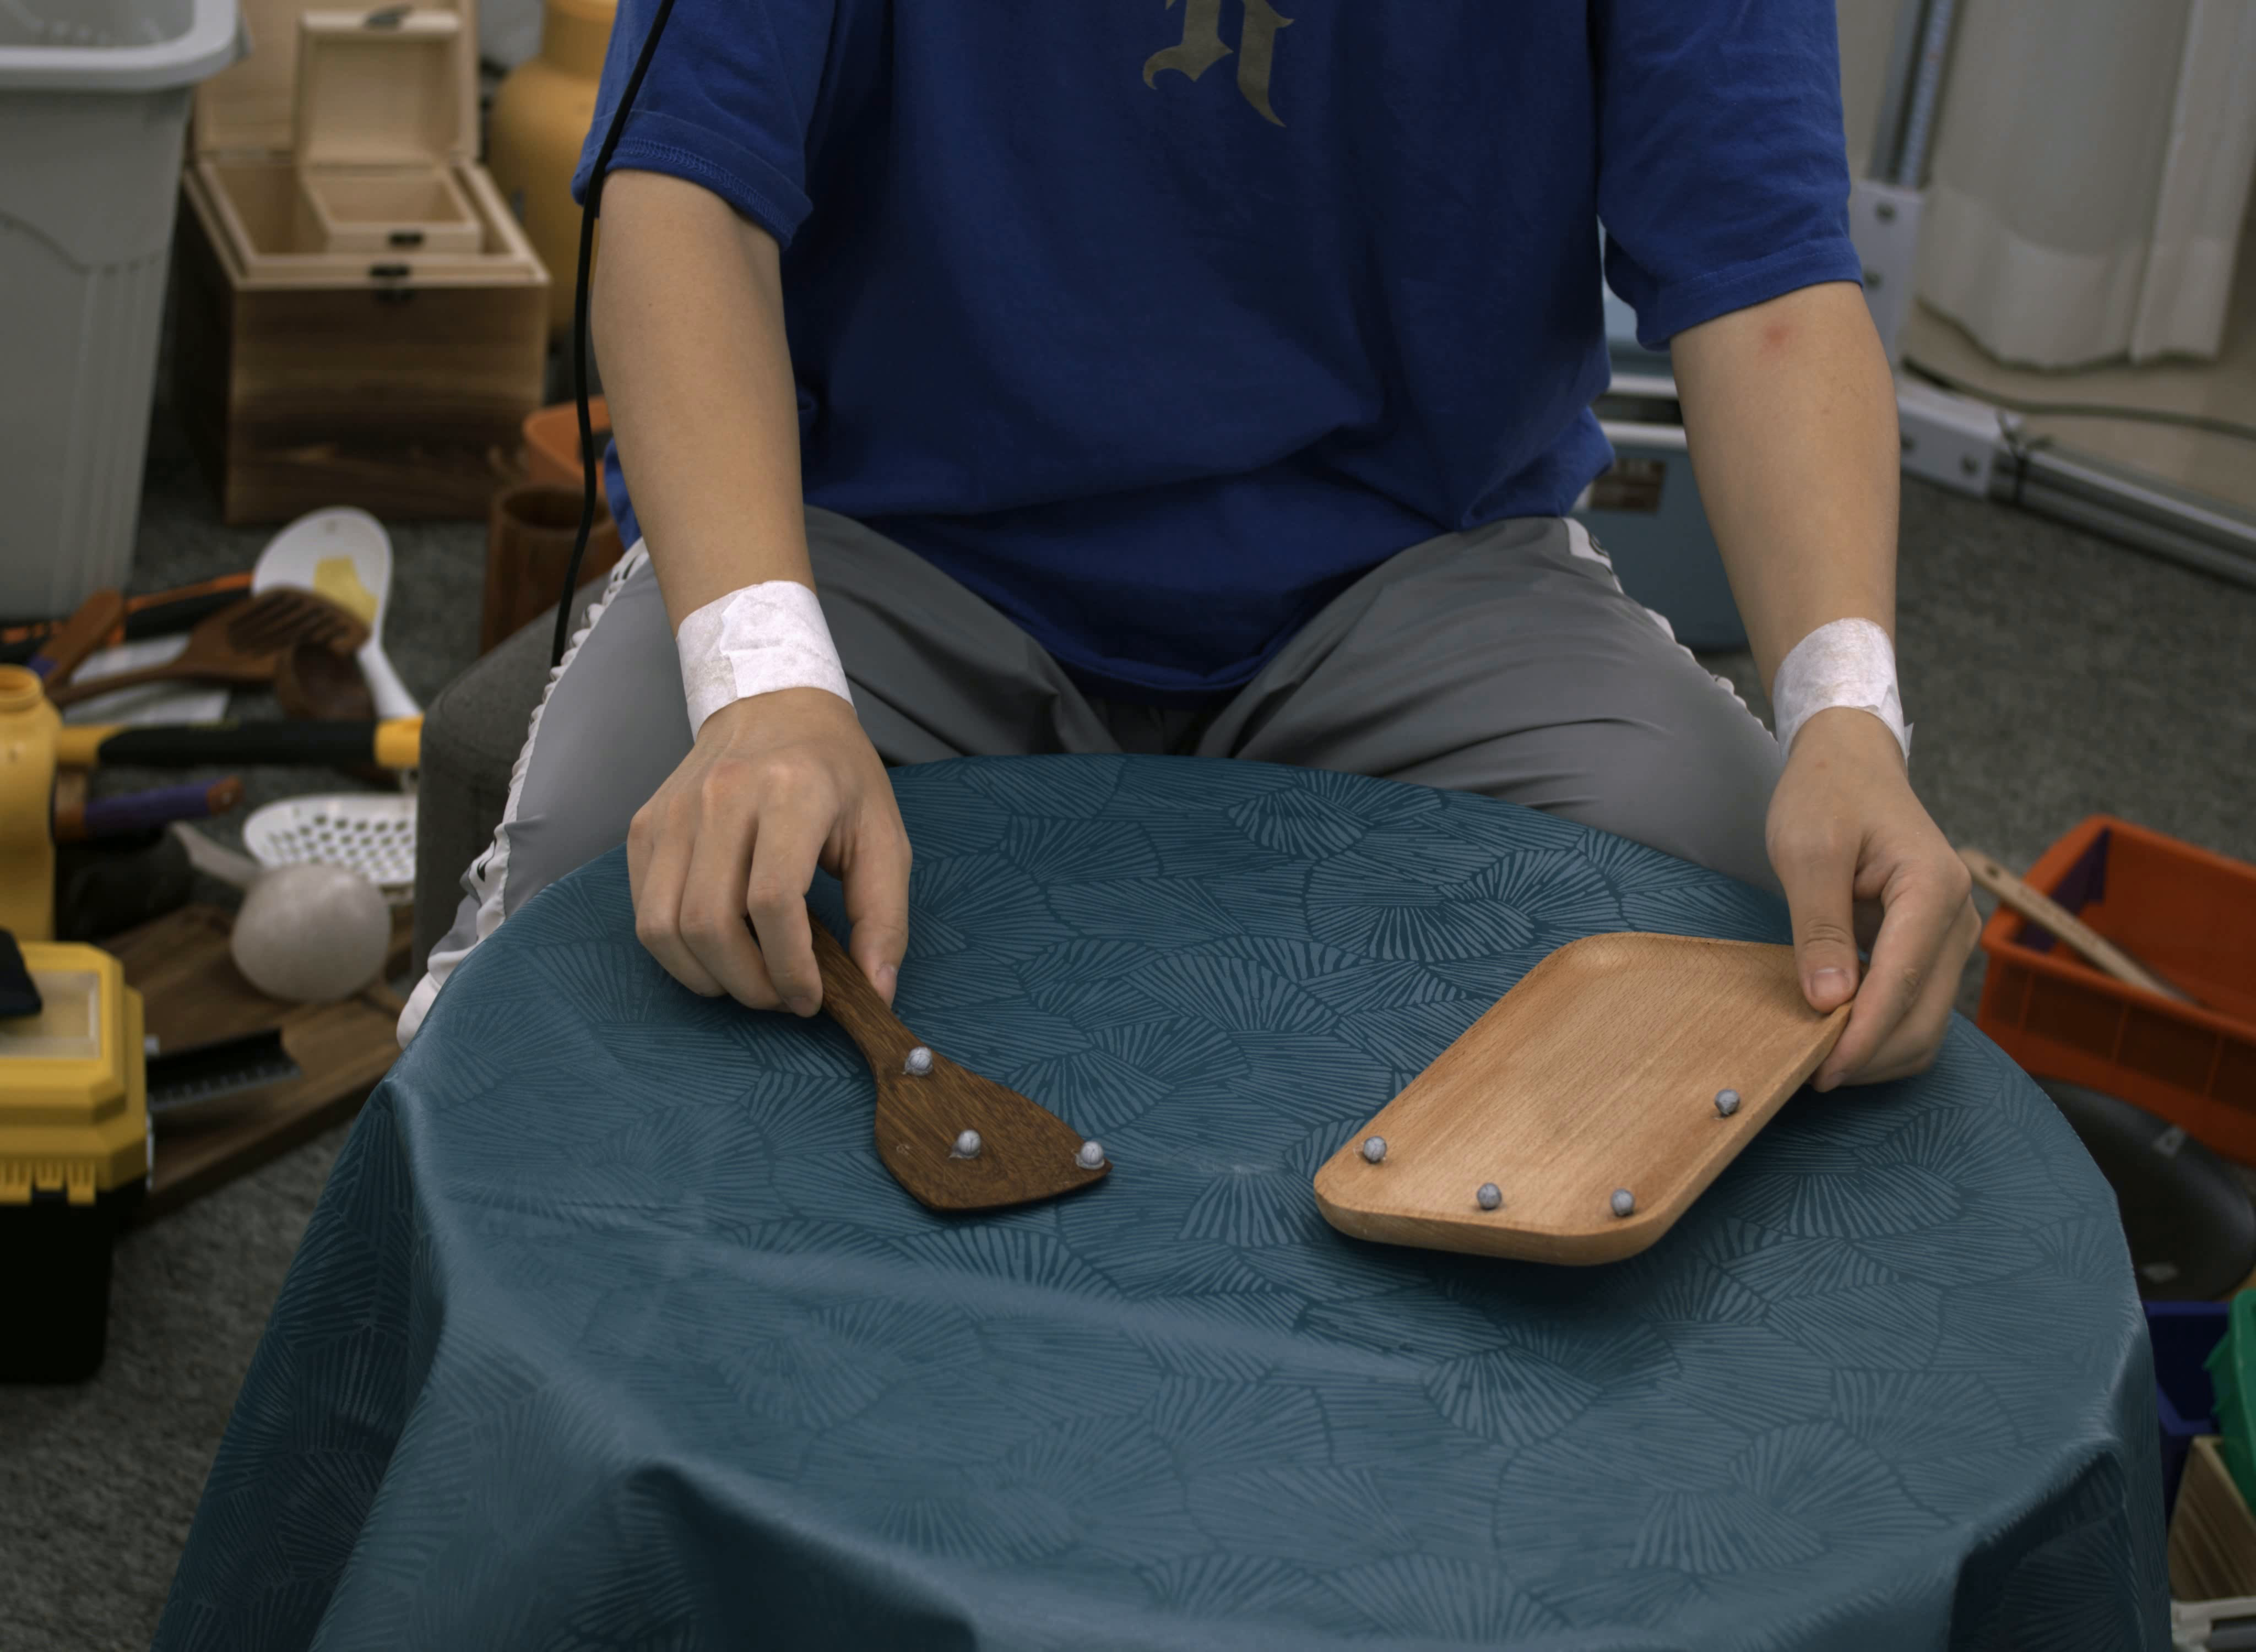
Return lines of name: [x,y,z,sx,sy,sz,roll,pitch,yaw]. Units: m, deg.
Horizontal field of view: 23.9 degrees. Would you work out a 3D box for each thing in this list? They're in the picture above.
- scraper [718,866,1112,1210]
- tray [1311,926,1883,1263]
scraper: [-0.086,0.072,1.858,0.075,0.011,0.213,-9,37,-32]
tray: [0.167,0.091,1.854,0.131,0.023,0.250,8,24,29]
